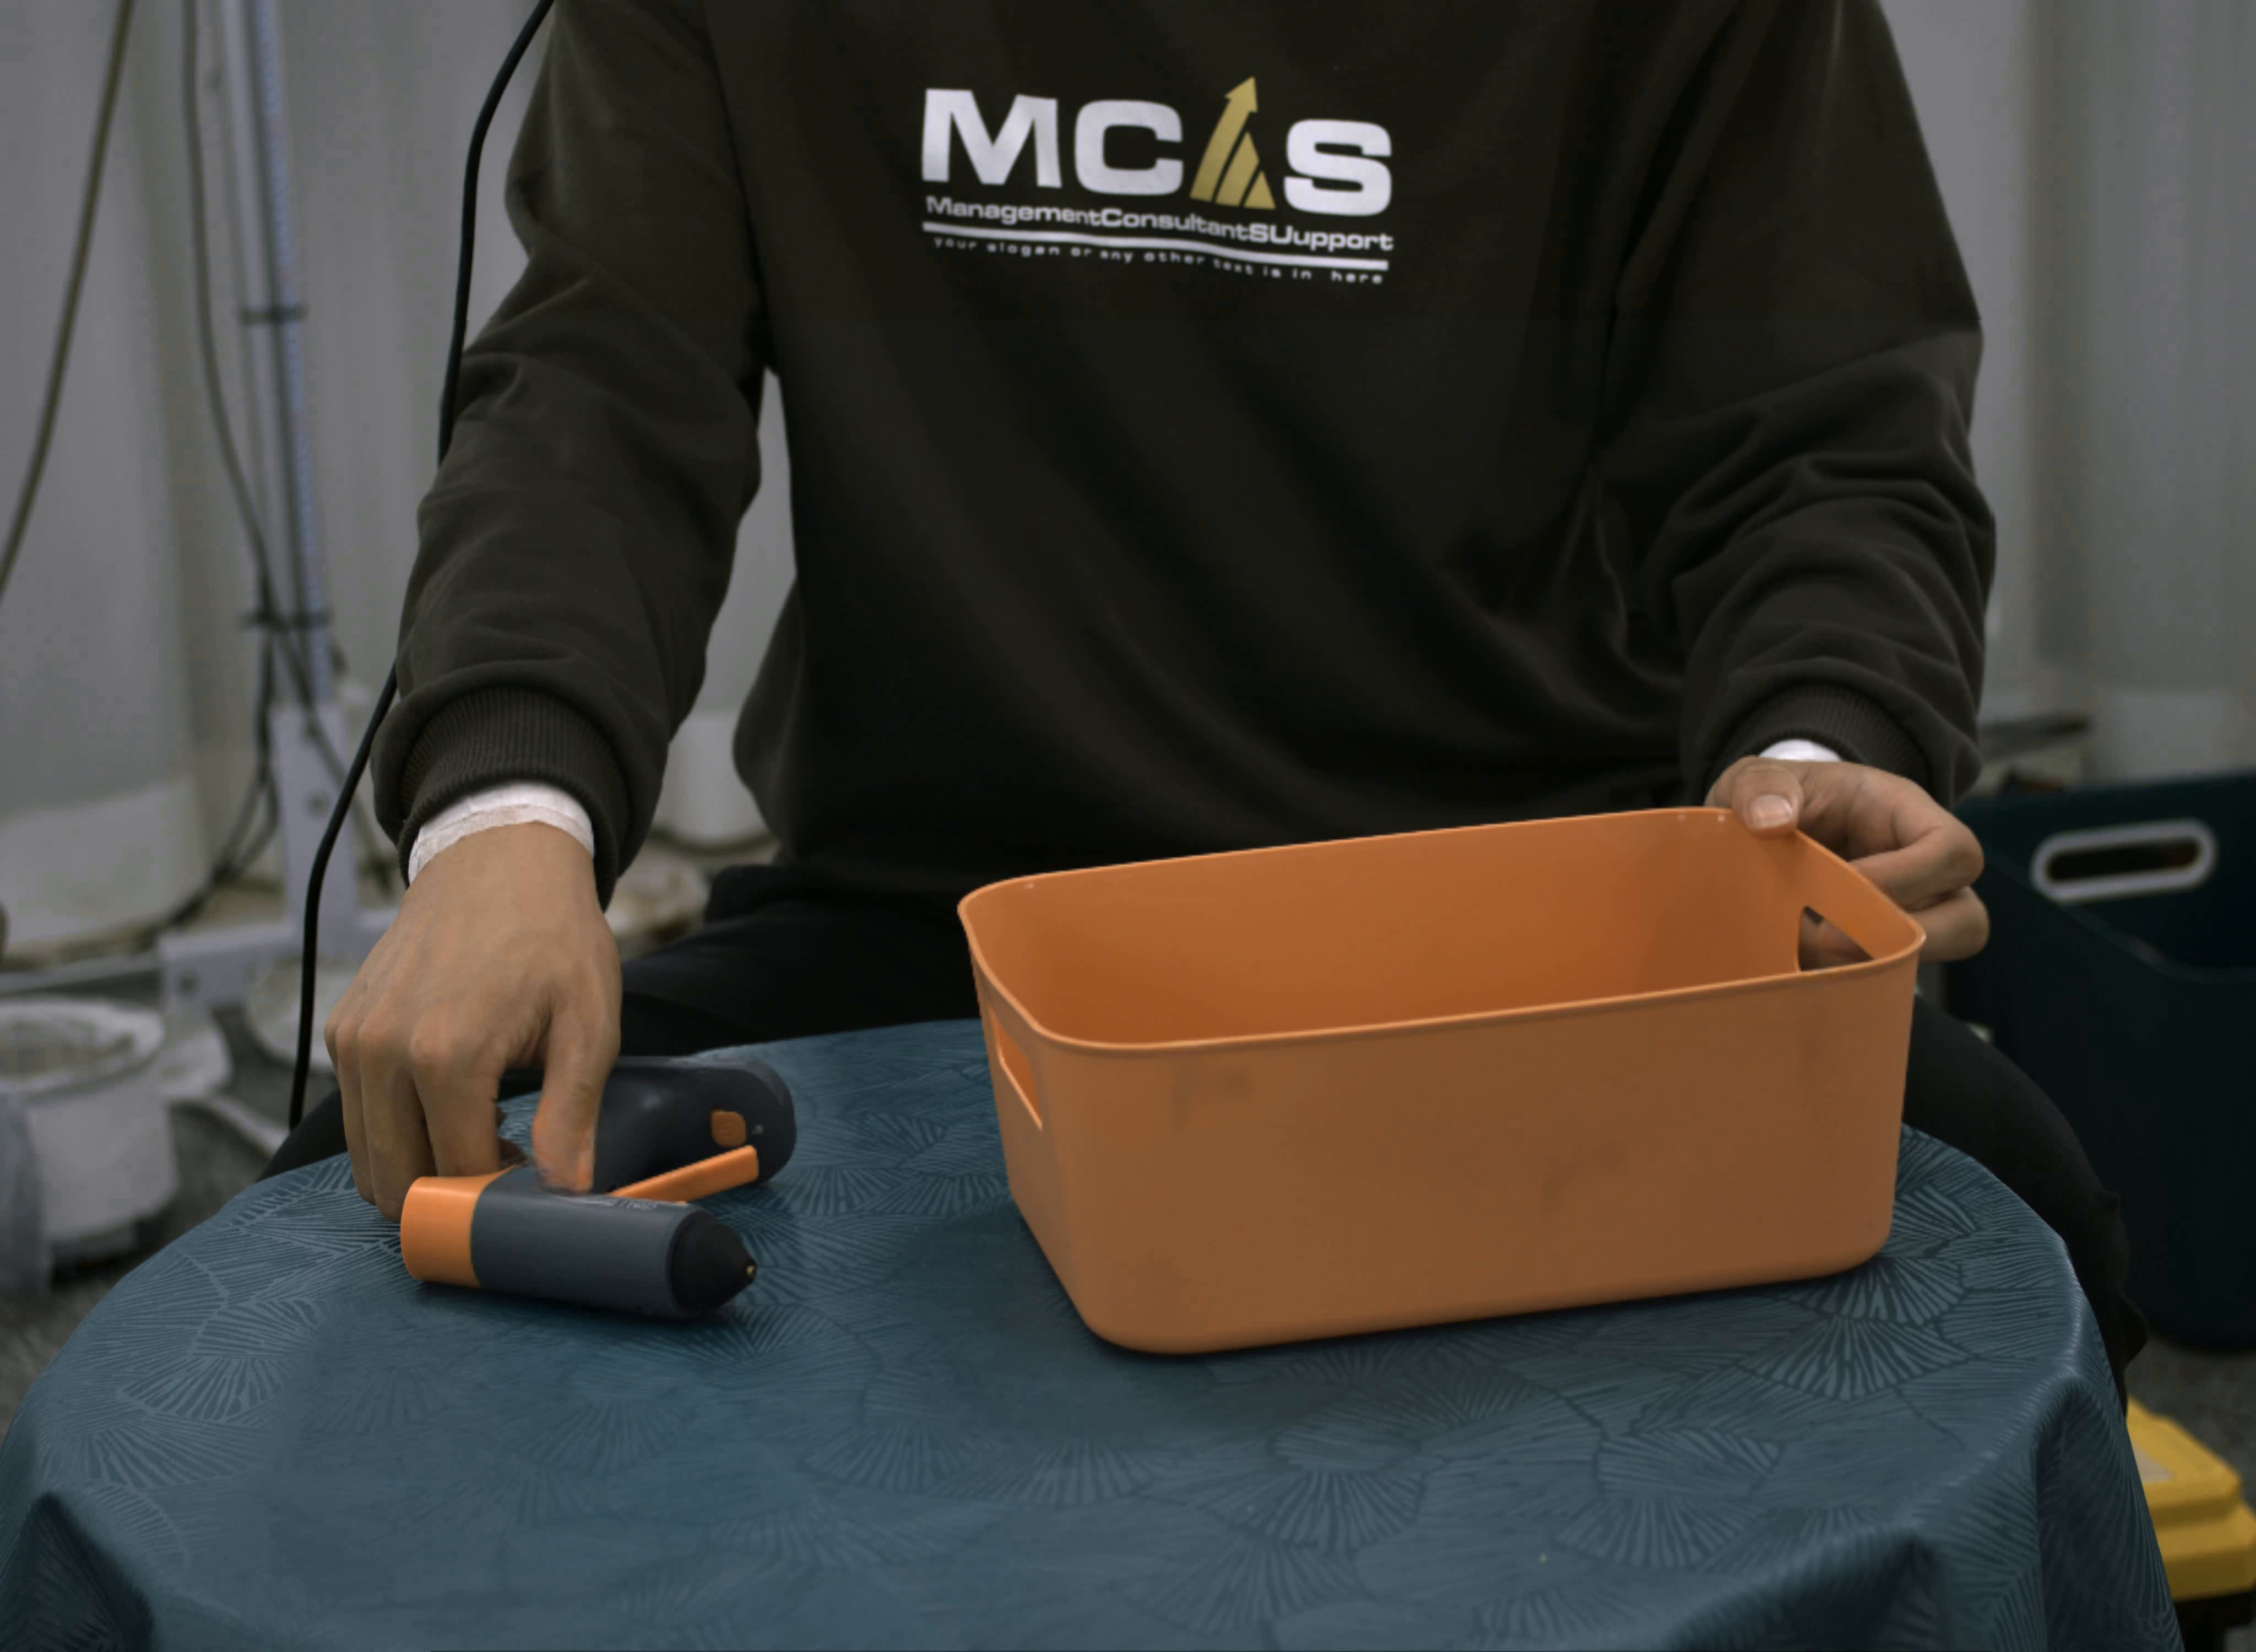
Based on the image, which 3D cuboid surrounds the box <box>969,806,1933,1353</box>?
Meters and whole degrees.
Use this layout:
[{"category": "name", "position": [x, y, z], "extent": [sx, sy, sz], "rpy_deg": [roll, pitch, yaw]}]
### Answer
[{"category": "box", "position": [0.094, 0.075, 1.649], "extent": [0.272, 0.102, 0.201], "rpy_deg": [-6, 15, -10]}]

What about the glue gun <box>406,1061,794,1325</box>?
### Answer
[{"category": "glue gun", "position": [-0.151, 0.115, 1.681], "extent": [0.118, 0.041, 0.140], "rpy_deg": [0, 18, 14]}]
